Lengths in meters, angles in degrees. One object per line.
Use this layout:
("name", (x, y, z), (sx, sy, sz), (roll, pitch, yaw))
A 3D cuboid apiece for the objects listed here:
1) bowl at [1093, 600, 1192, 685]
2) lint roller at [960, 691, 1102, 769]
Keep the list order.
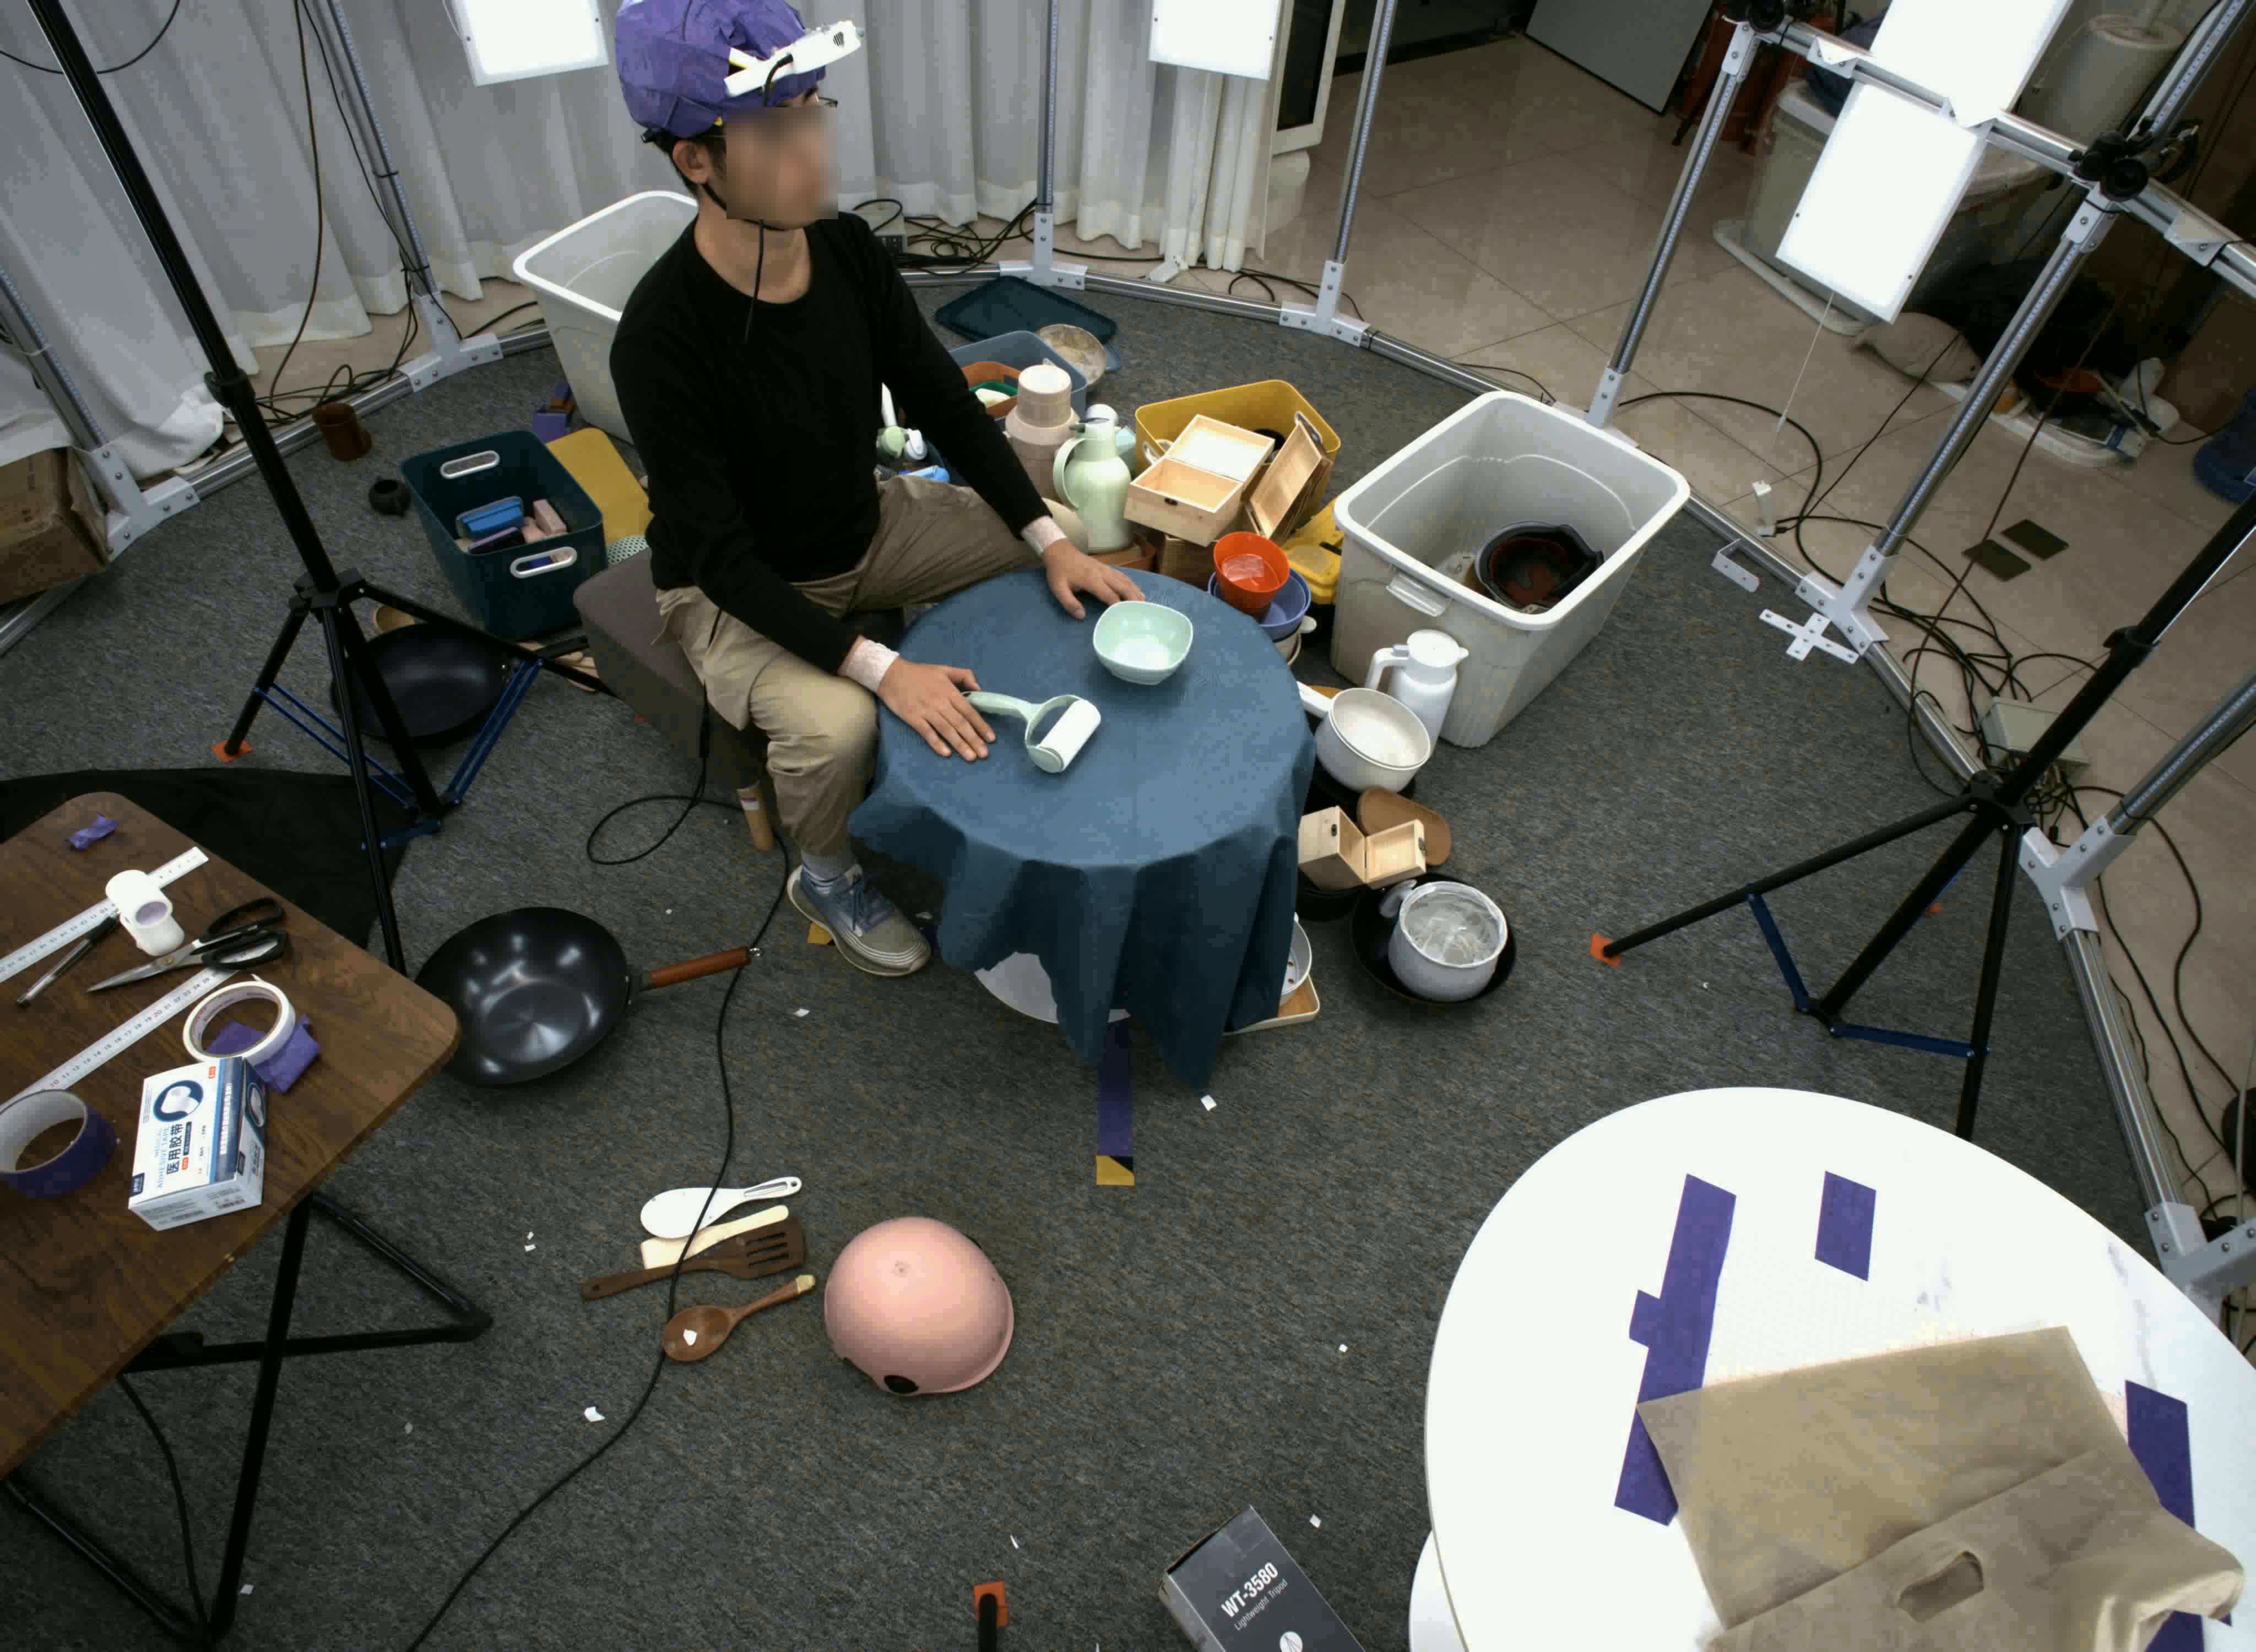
("bowl", (0.020, -0.257, 1.858), (0.151, 0.057, 0.155), (2, 50, -3))
("lint roller", (-0.143, -0.155, 1.767), (0.199, 0.047, 0.118), (23, 53, 16))
